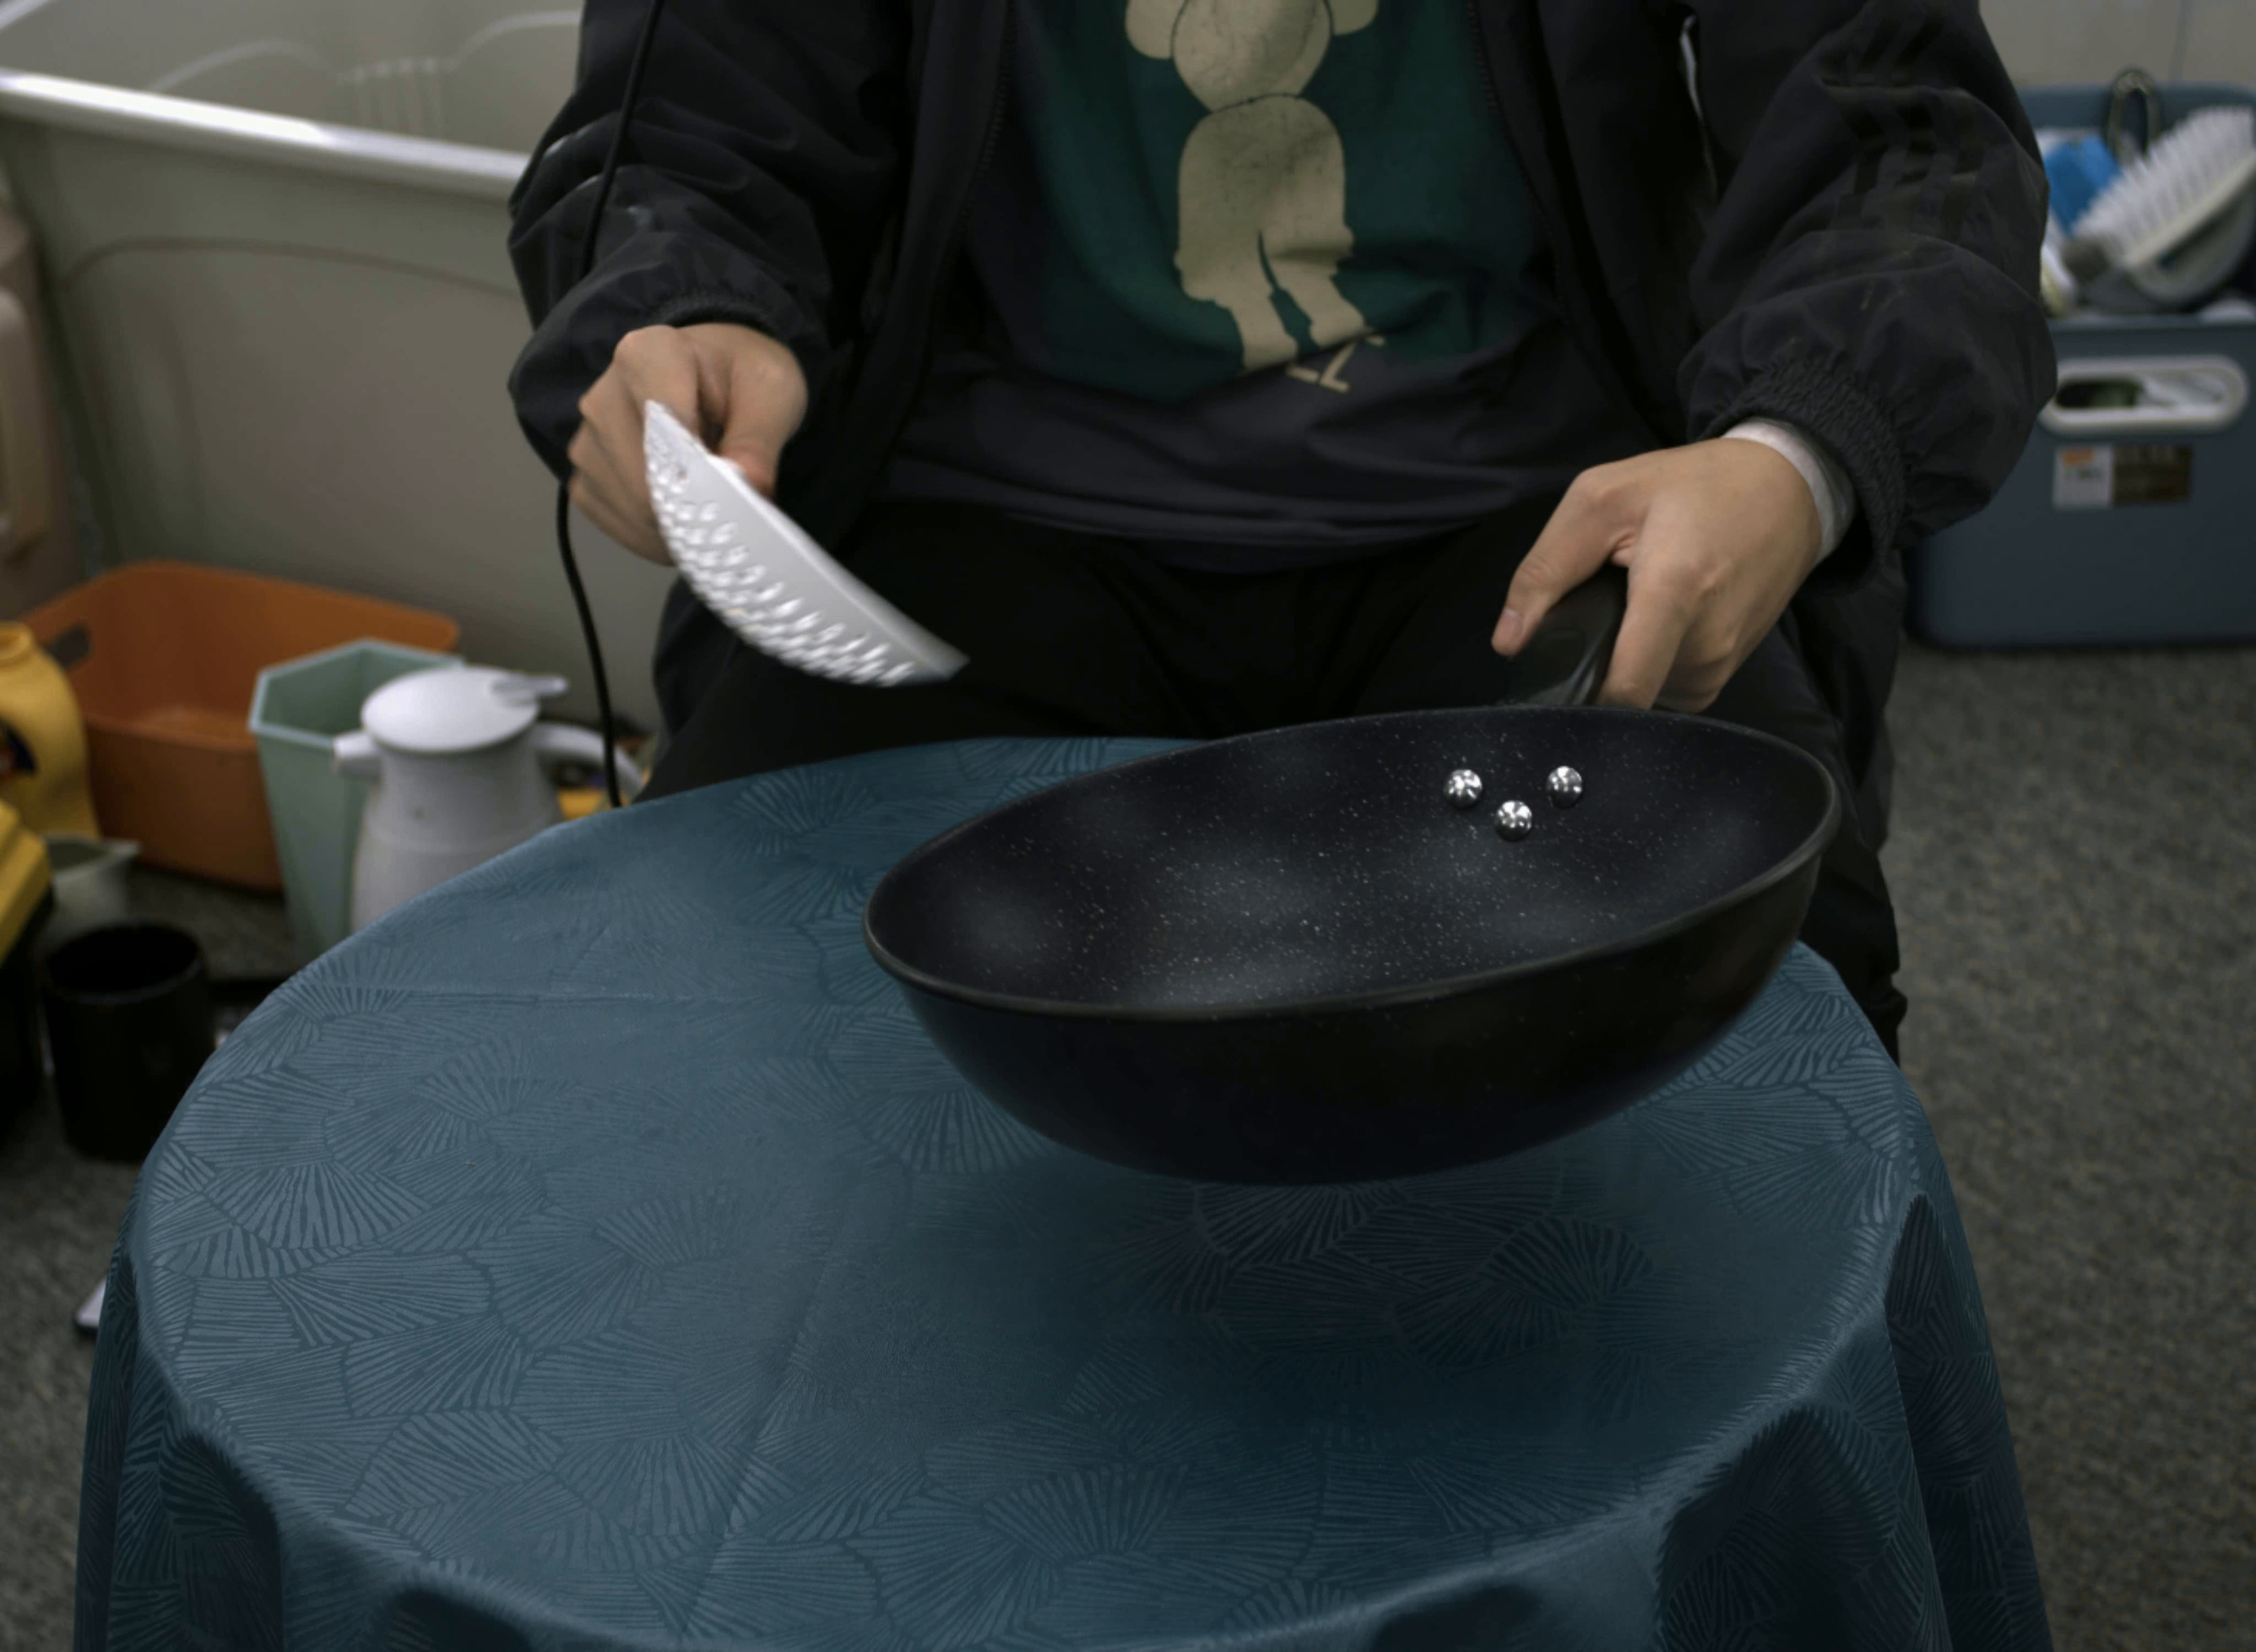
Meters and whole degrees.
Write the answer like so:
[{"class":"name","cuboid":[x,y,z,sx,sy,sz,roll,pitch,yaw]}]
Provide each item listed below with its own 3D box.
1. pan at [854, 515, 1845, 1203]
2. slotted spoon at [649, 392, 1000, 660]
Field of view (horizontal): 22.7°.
[{"class":"pan","cuboid":[0.104,0.012,1.832,0.307,0.111,0.483,0,18,24]},{"class":"slotted spoon","cuboid":[-0.127,-0.105,1.937,0.136,0.050,0.349,35,3,-13]}]
